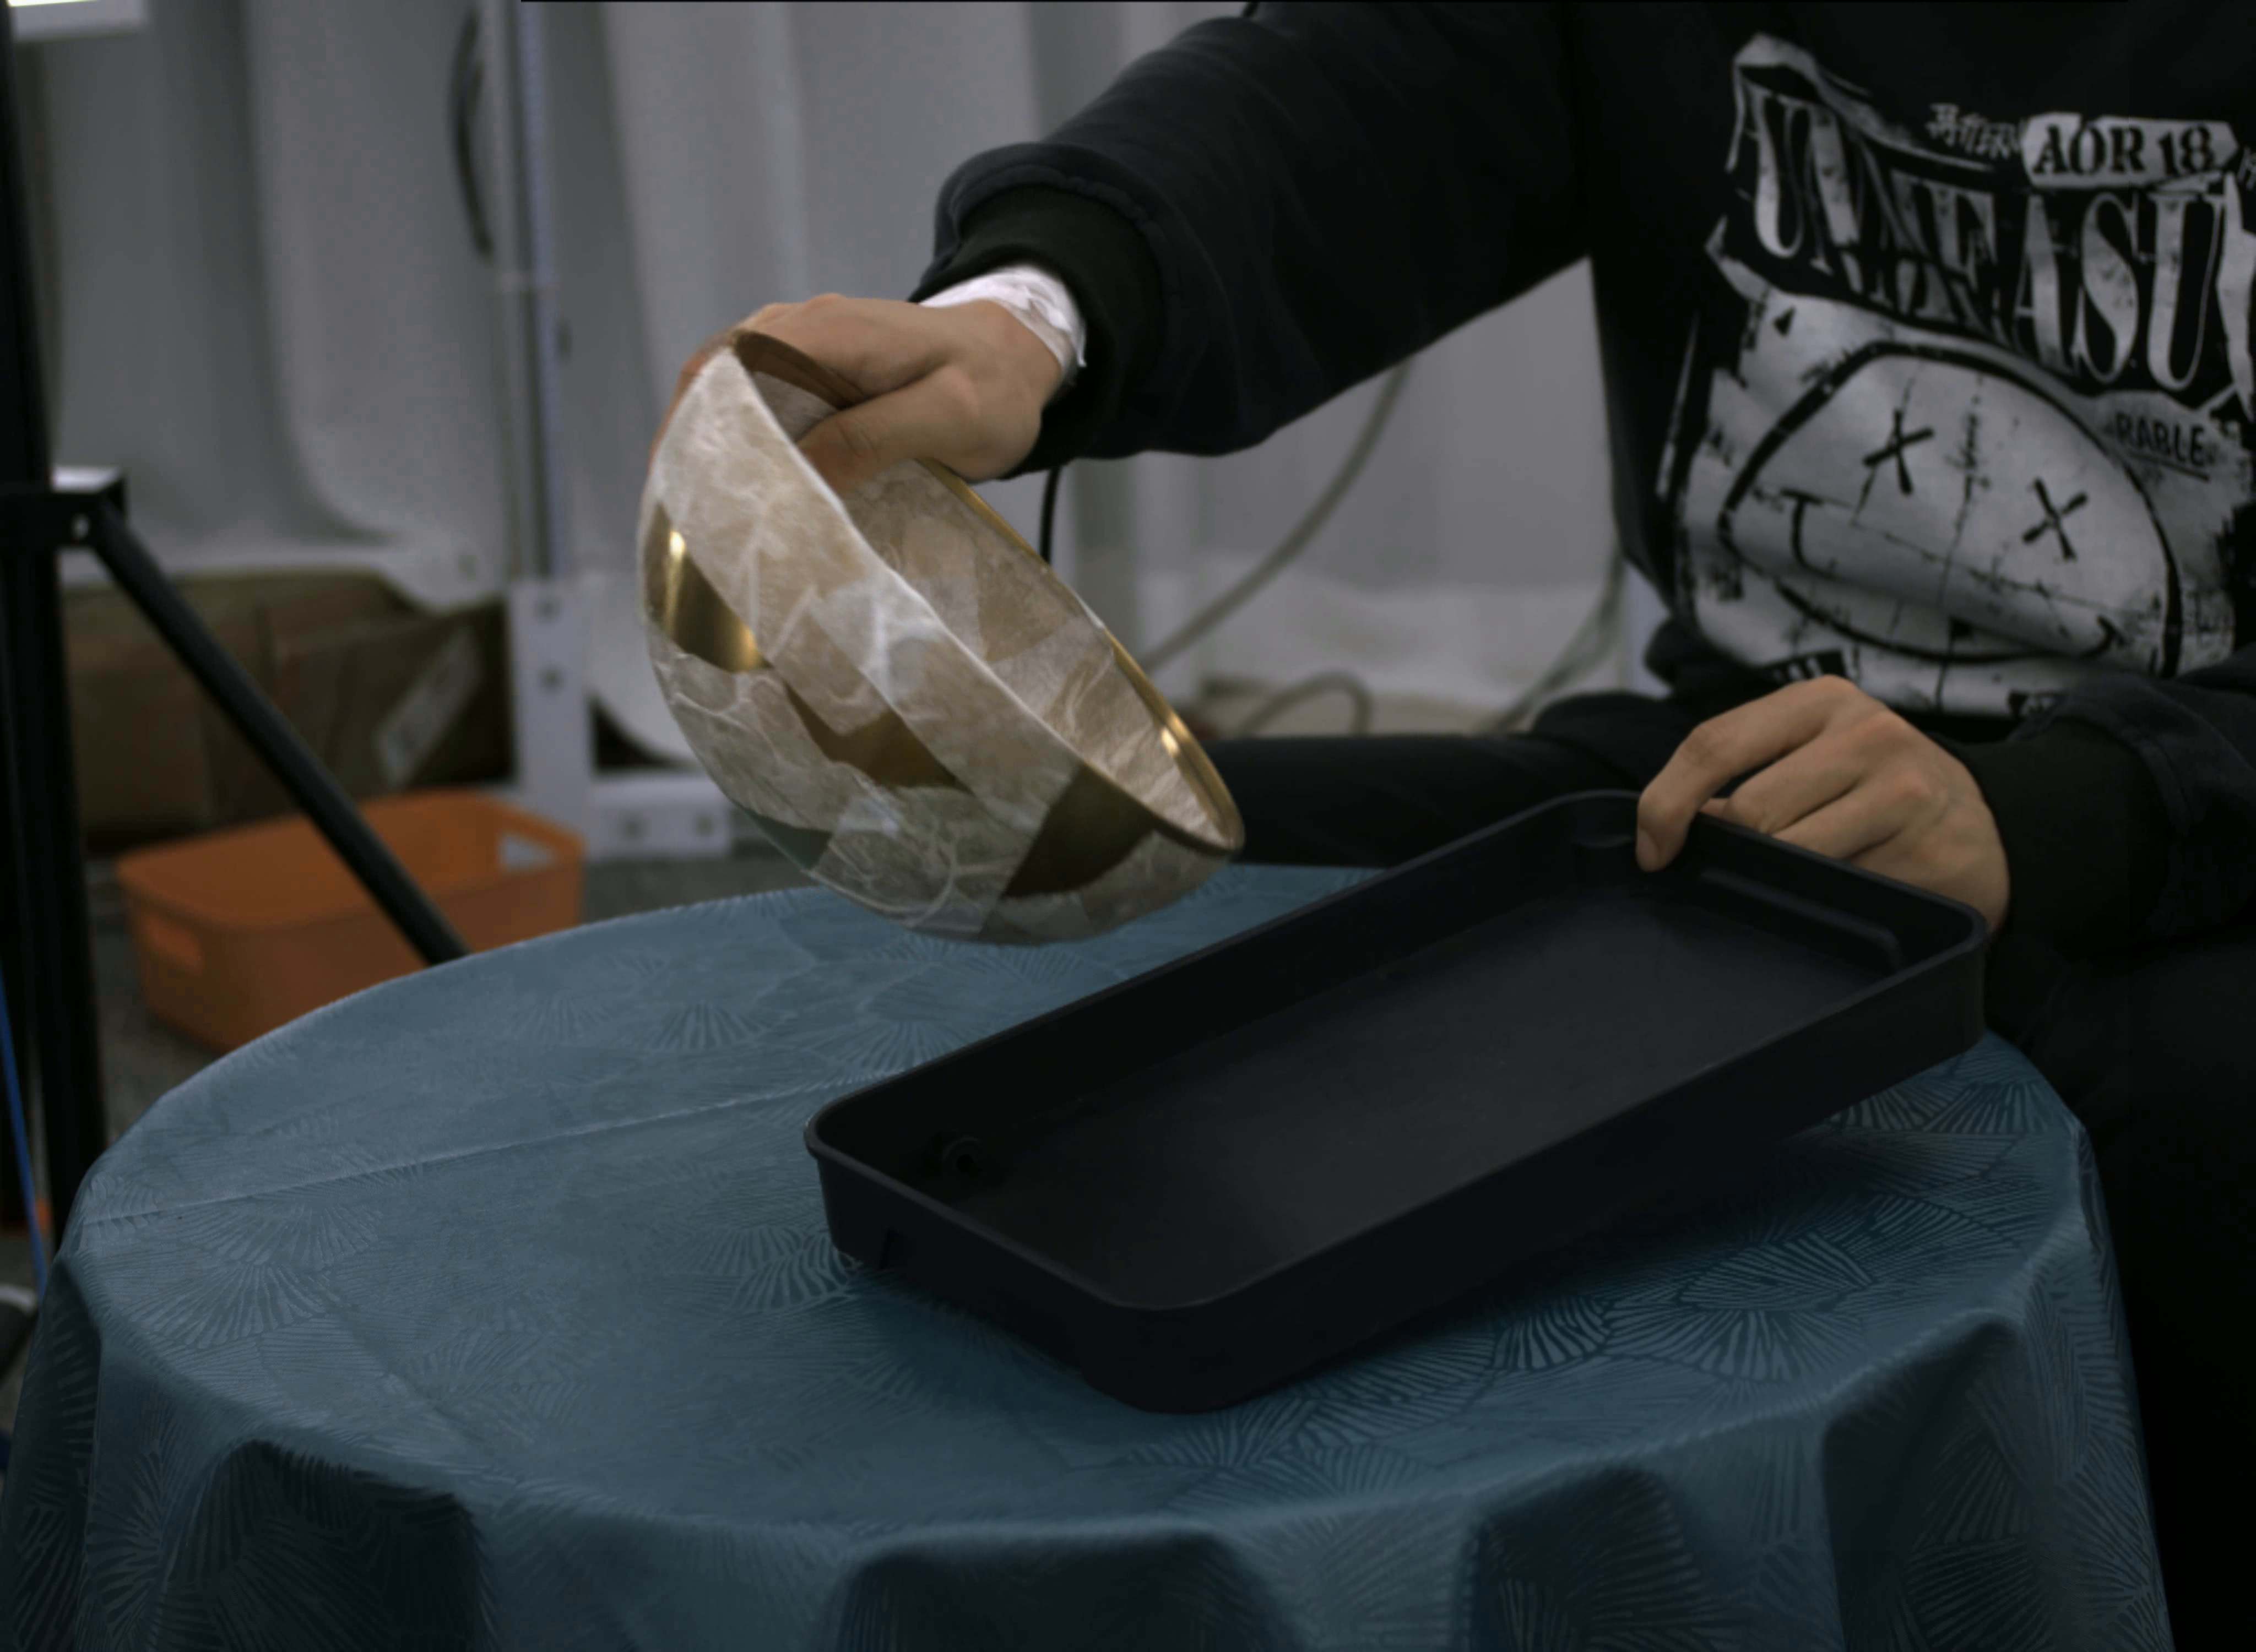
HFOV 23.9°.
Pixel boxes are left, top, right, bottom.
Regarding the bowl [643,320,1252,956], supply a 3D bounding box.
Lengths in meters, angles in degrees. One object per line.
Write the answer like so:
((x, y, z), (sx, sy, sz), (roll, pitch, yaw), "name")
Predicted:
((-0.064, -0.033, 1.483), (0.095, 0.213, 0.216), (-44, 13, 9), "bowl")

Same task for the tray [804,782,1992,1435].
((0.081, 0.074, 1.522), (0.312, 0.037, 0.188), (-23, 27, -28), "tray")
